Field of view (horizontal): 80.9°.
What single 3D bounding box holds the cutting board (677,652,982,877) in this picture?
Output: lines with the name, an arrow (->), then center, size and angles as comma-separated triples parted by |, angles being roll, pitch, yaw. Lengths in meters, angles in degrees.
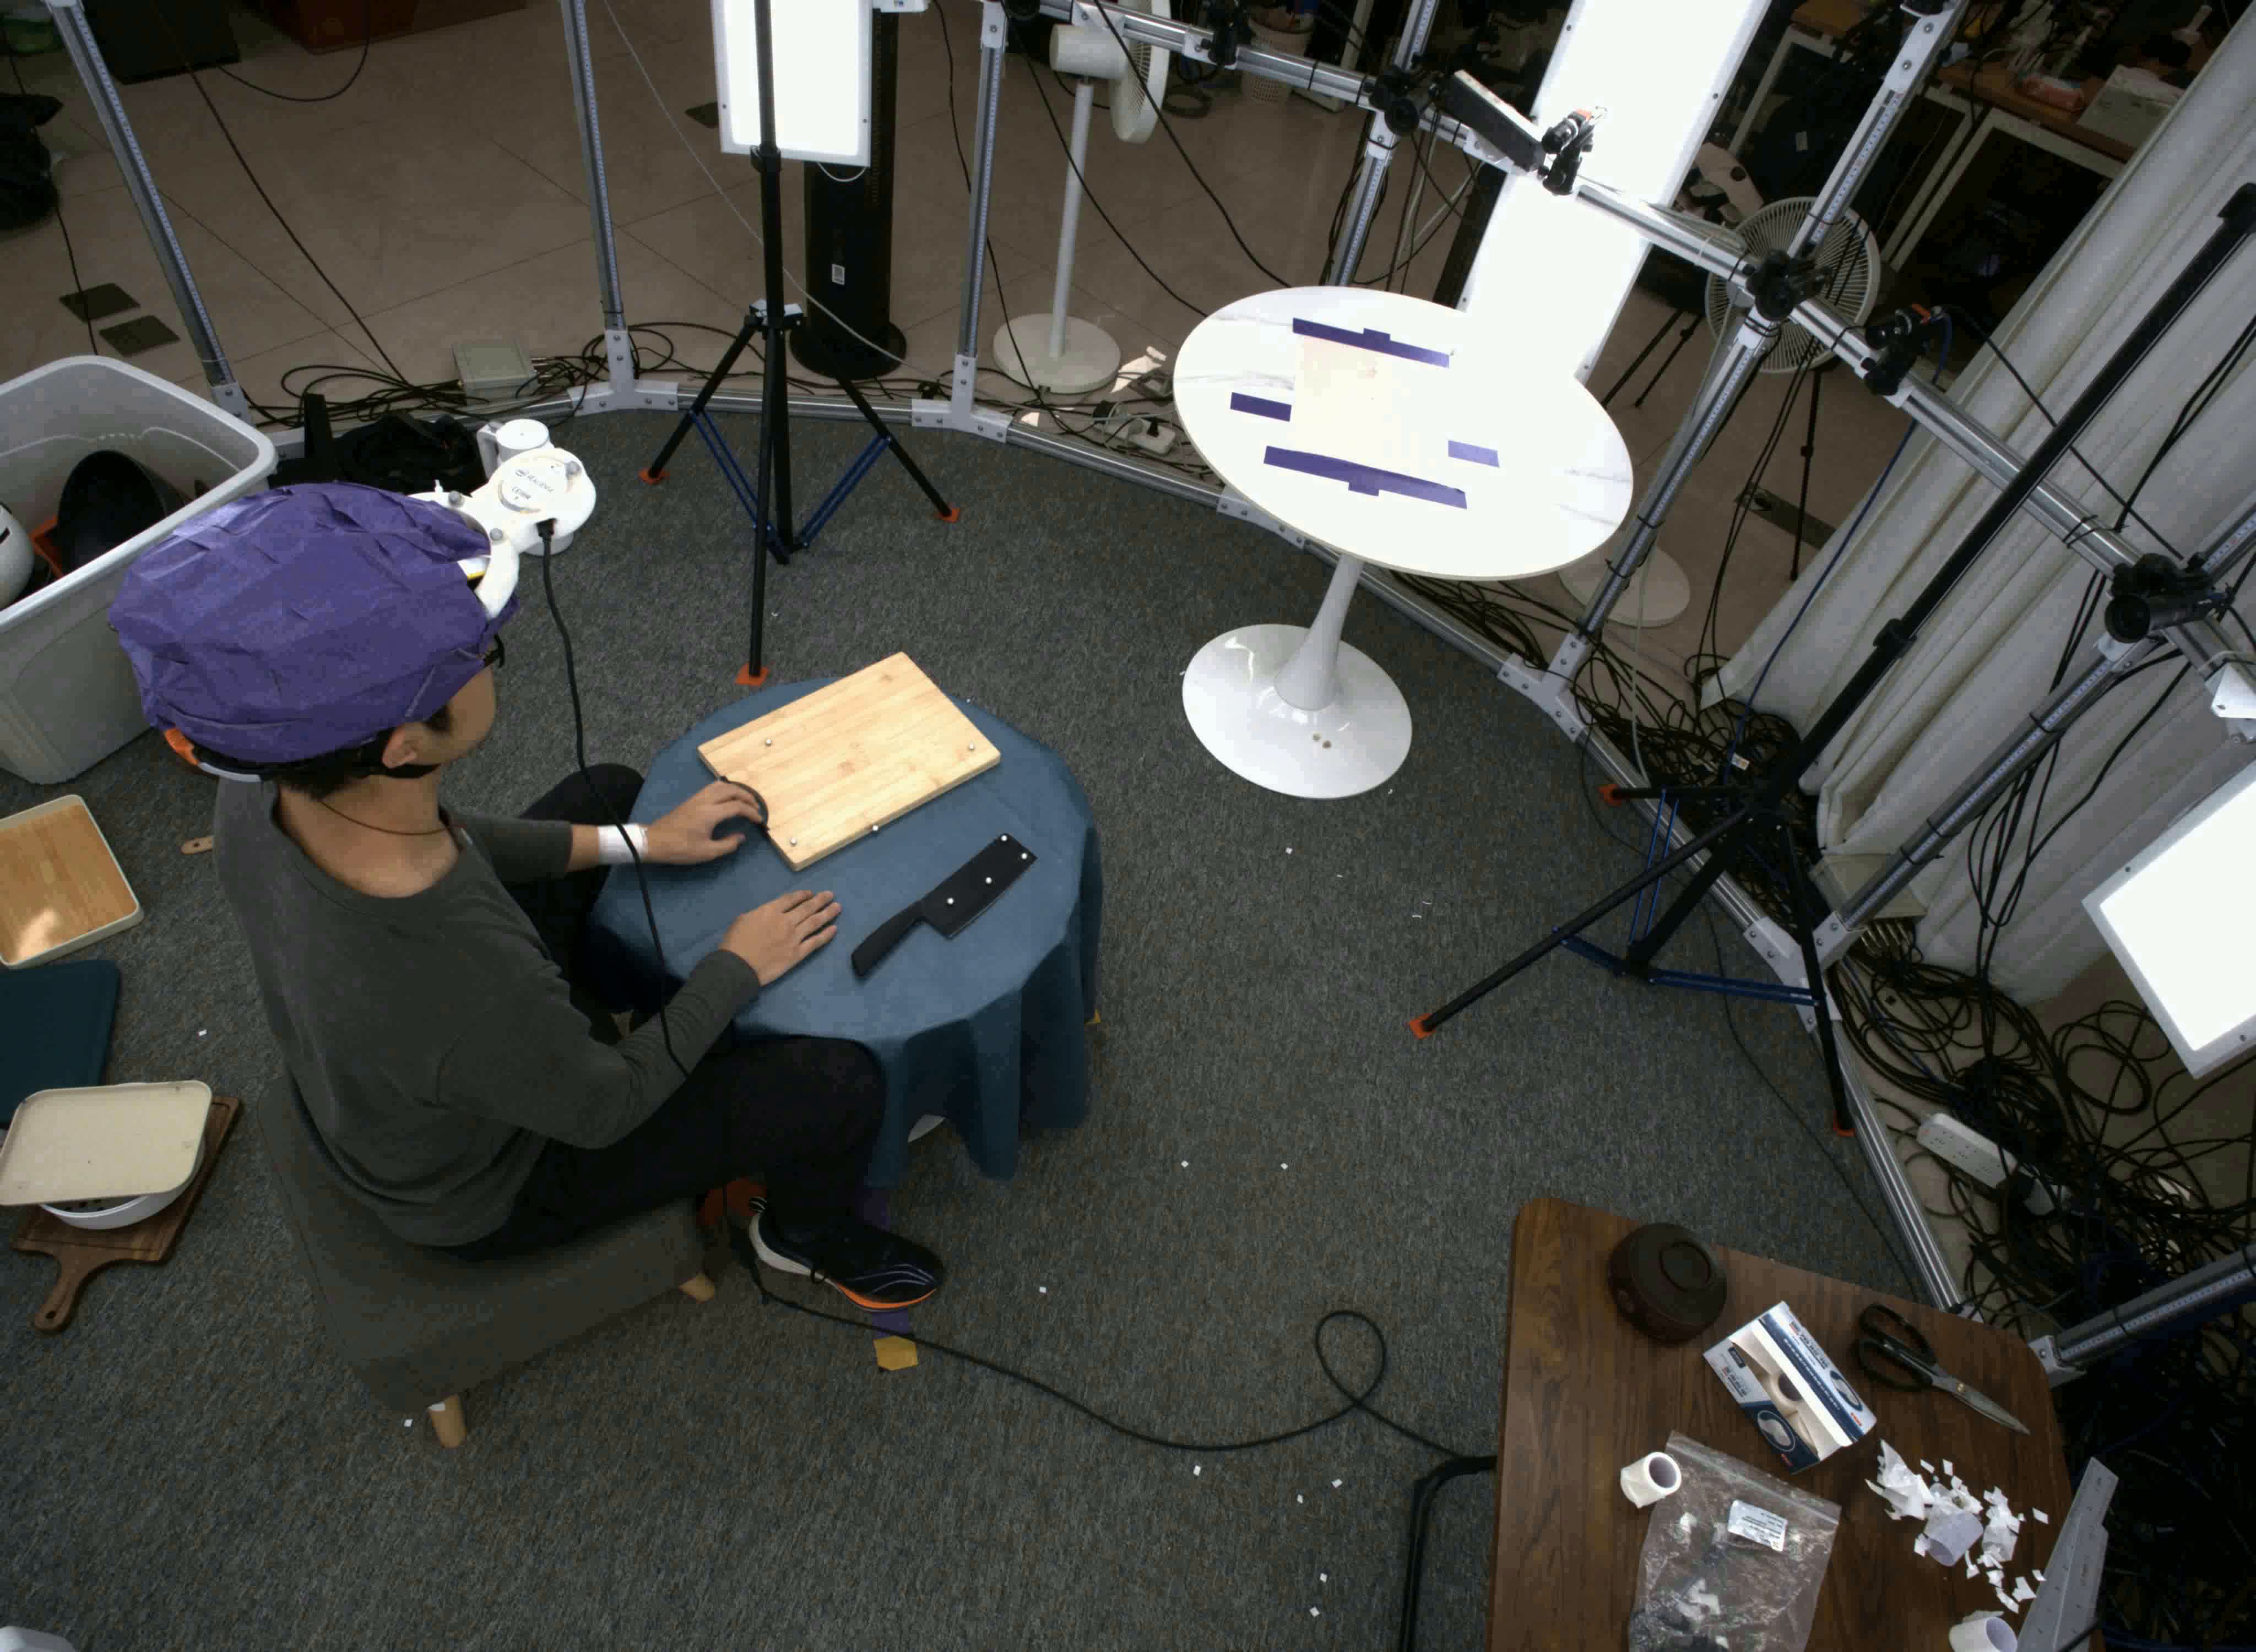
cutting board -> -0.408, -0.095, 1.799 | 0.349, 0.024, 0.245 | -34, 68, -32

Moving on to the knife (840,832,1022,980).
knife -> -0.255, 0.103, 1.694 | 0.079, 0.021, 0.303 | 41, 53, 15
